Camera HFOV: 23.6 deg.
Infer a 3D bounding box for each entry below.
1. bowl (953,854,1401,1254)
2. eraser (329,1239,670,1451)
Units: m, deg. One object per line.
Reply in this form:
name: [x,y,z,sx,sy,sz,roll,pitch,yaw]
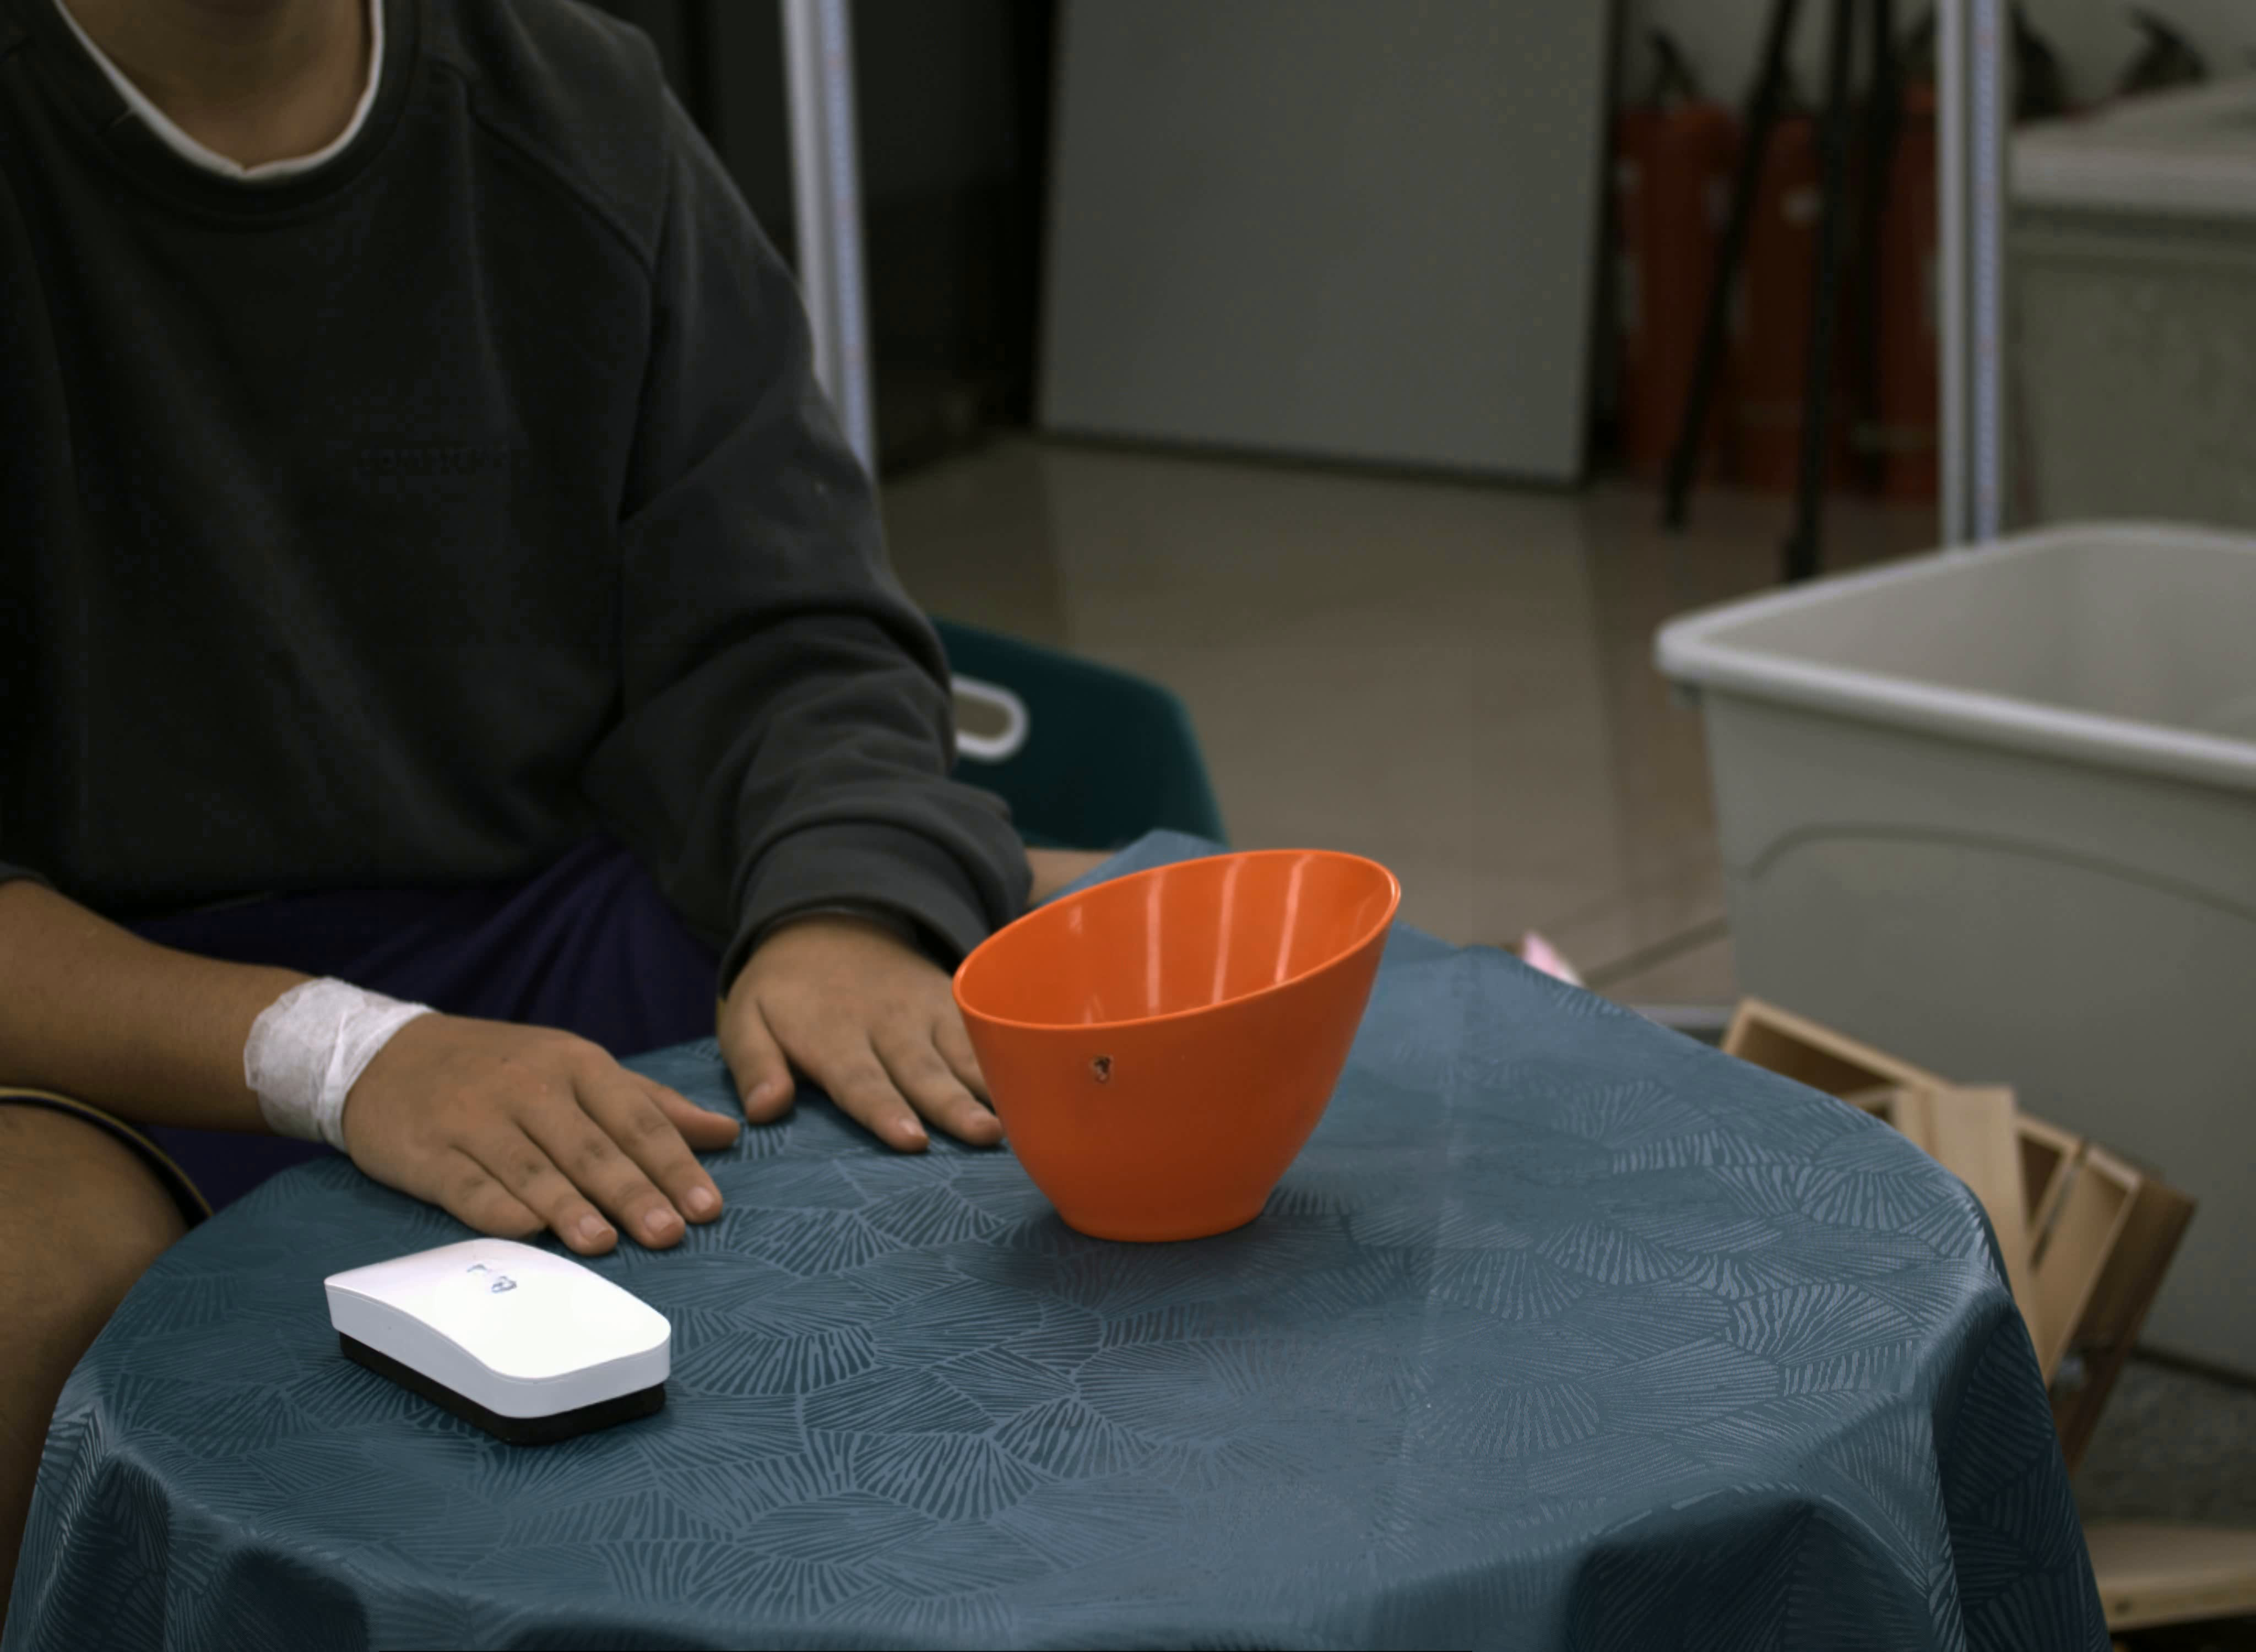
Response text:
bowl: [0.019,0.076,1.737,0.146,0.106,0.148,-5,14,0]
eraser: [-0.188,0.152,1.629,0.062,0.035,0.133,-11,17,-31]
